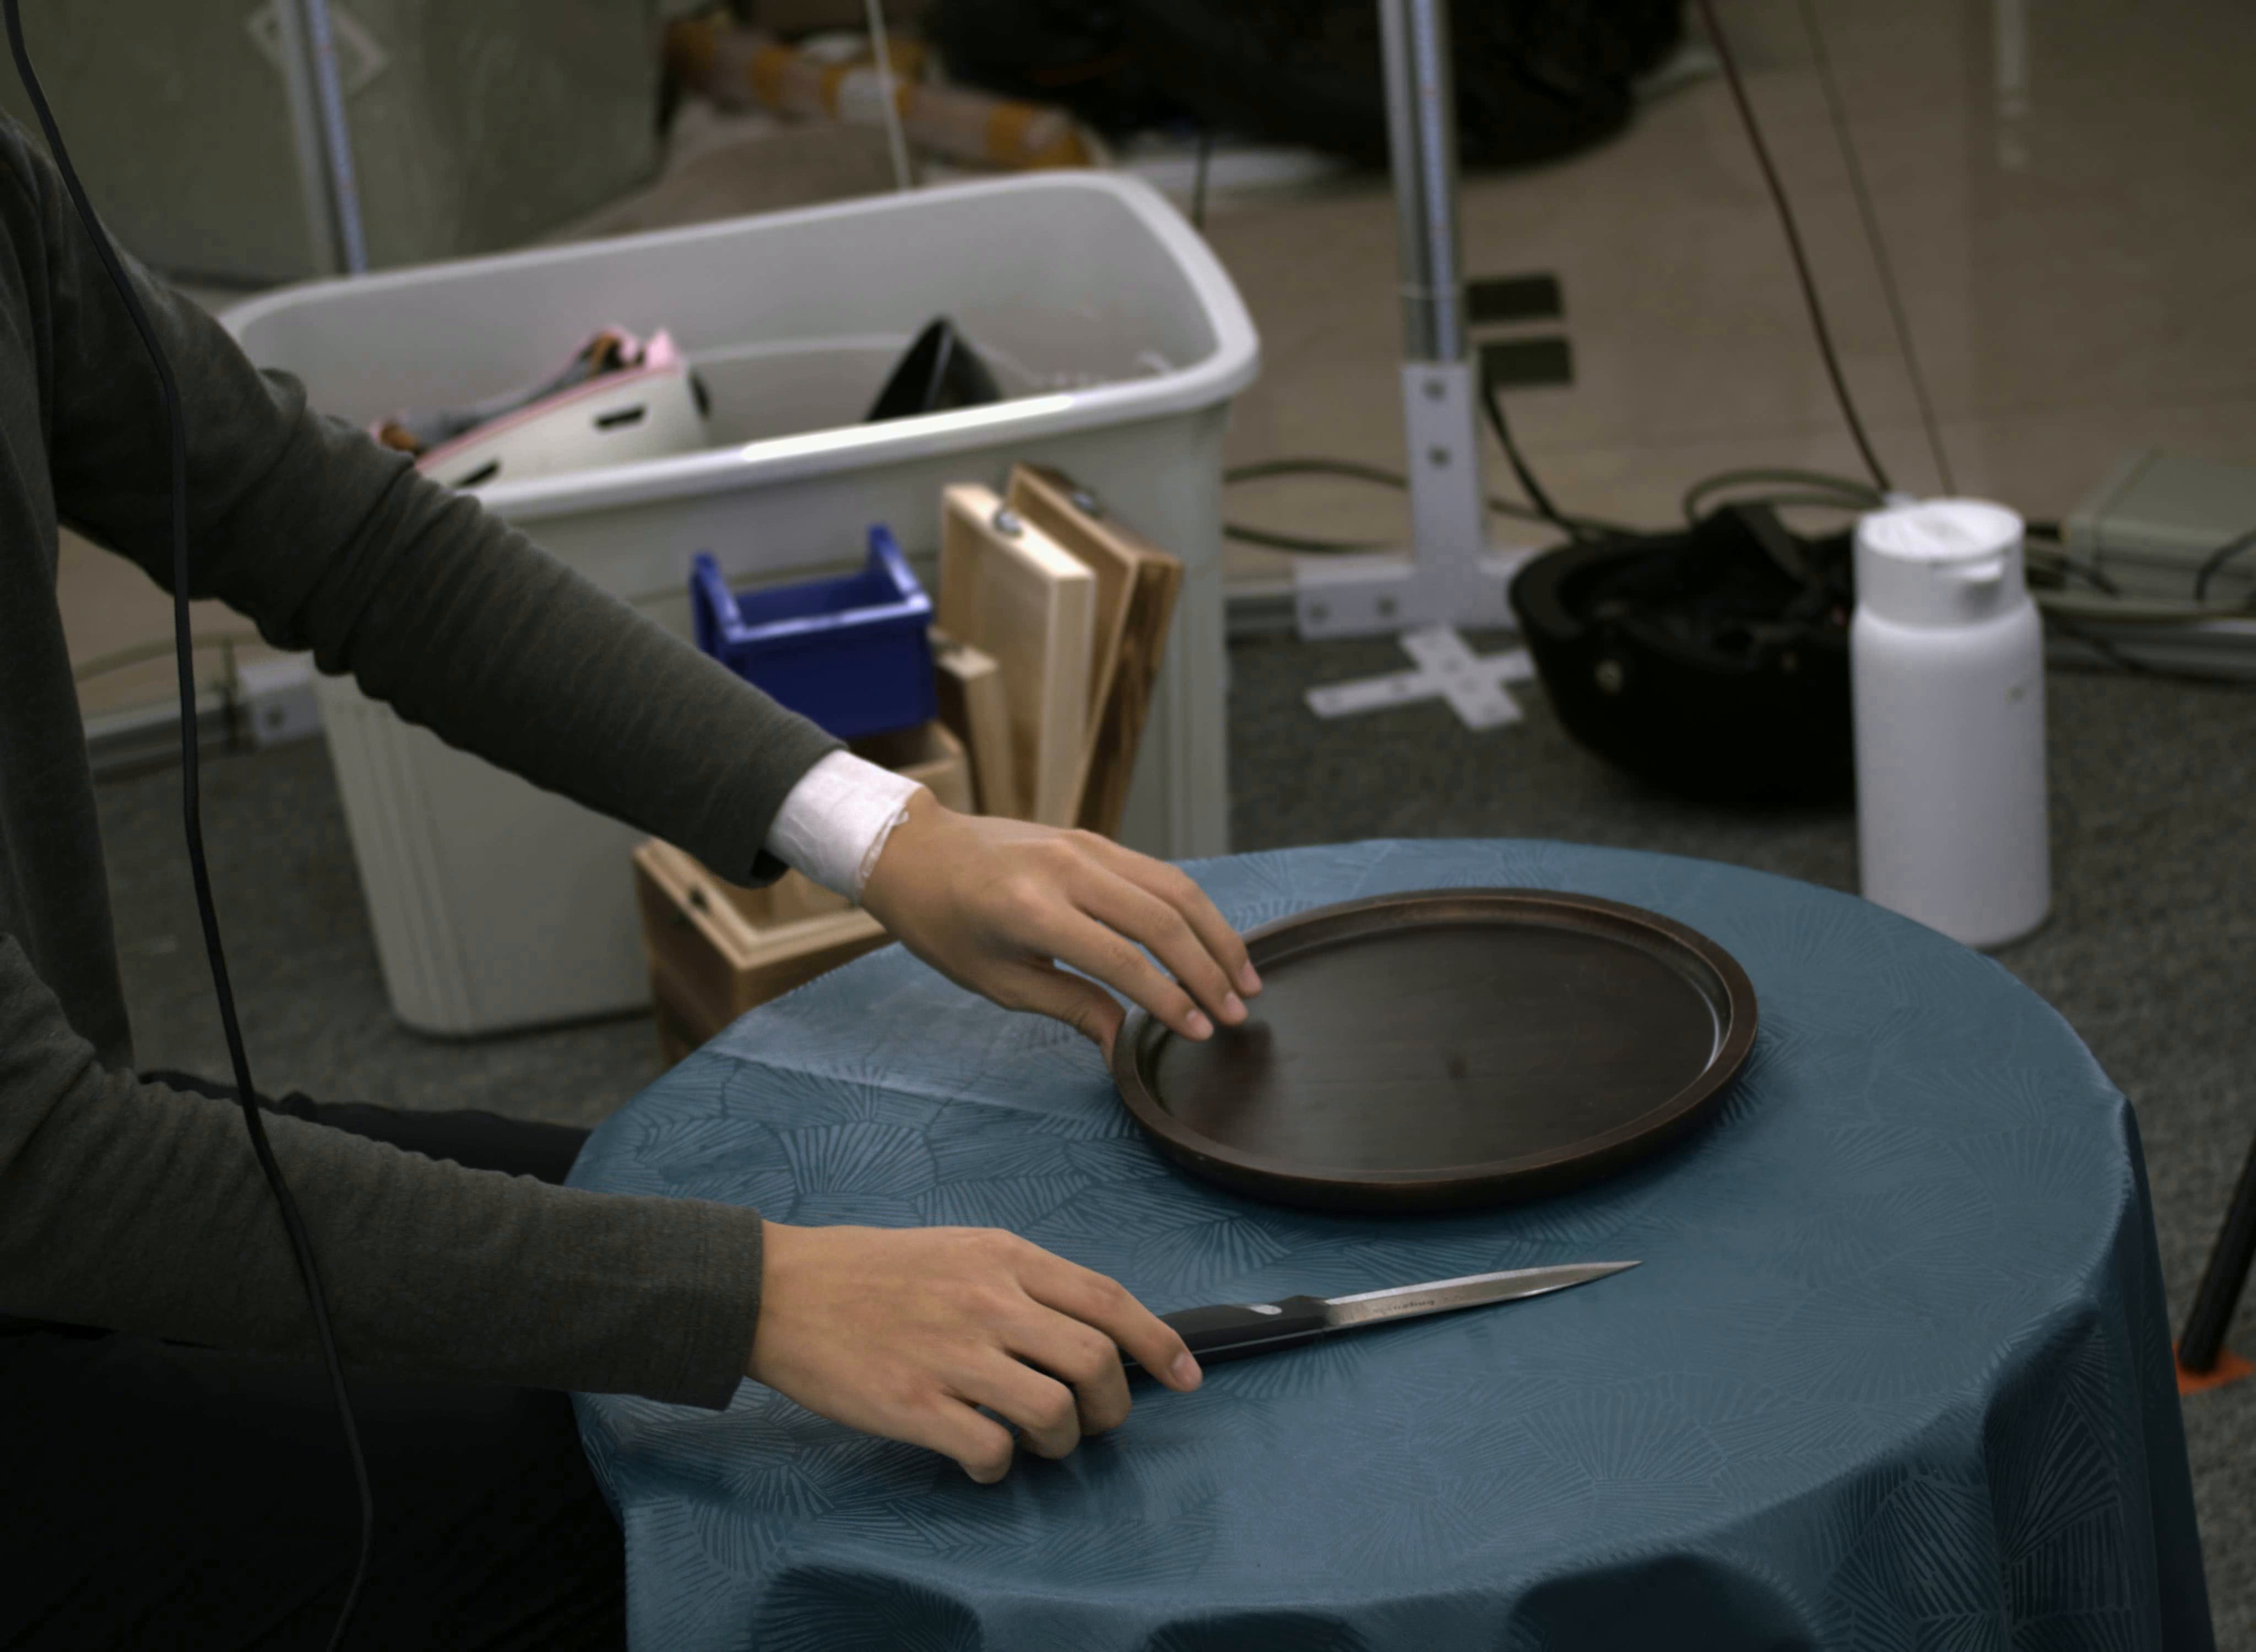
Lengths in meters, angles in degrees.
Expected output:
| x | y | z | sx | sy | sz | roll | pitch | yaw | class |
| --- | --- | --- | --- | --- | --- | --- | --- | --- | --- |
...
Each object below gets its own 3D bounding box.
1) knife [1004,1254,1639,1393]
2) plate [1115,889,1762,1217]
| x | y | z | sx | sy | sz | roll | pitch | yaw | class |
| --- | --- | --- | --- | --- | --- | --- | --- | --- | --- |
| 0.072 | 0.176 | 2.040 | 0.237 | 0.016 | 0.024 | -9 | 27 | -12 | knife |
| 0.120 | 0.087 | 2.207 | 0.254 | 0.029 | 0.251 | -4 | 24 | 2 | plate |
